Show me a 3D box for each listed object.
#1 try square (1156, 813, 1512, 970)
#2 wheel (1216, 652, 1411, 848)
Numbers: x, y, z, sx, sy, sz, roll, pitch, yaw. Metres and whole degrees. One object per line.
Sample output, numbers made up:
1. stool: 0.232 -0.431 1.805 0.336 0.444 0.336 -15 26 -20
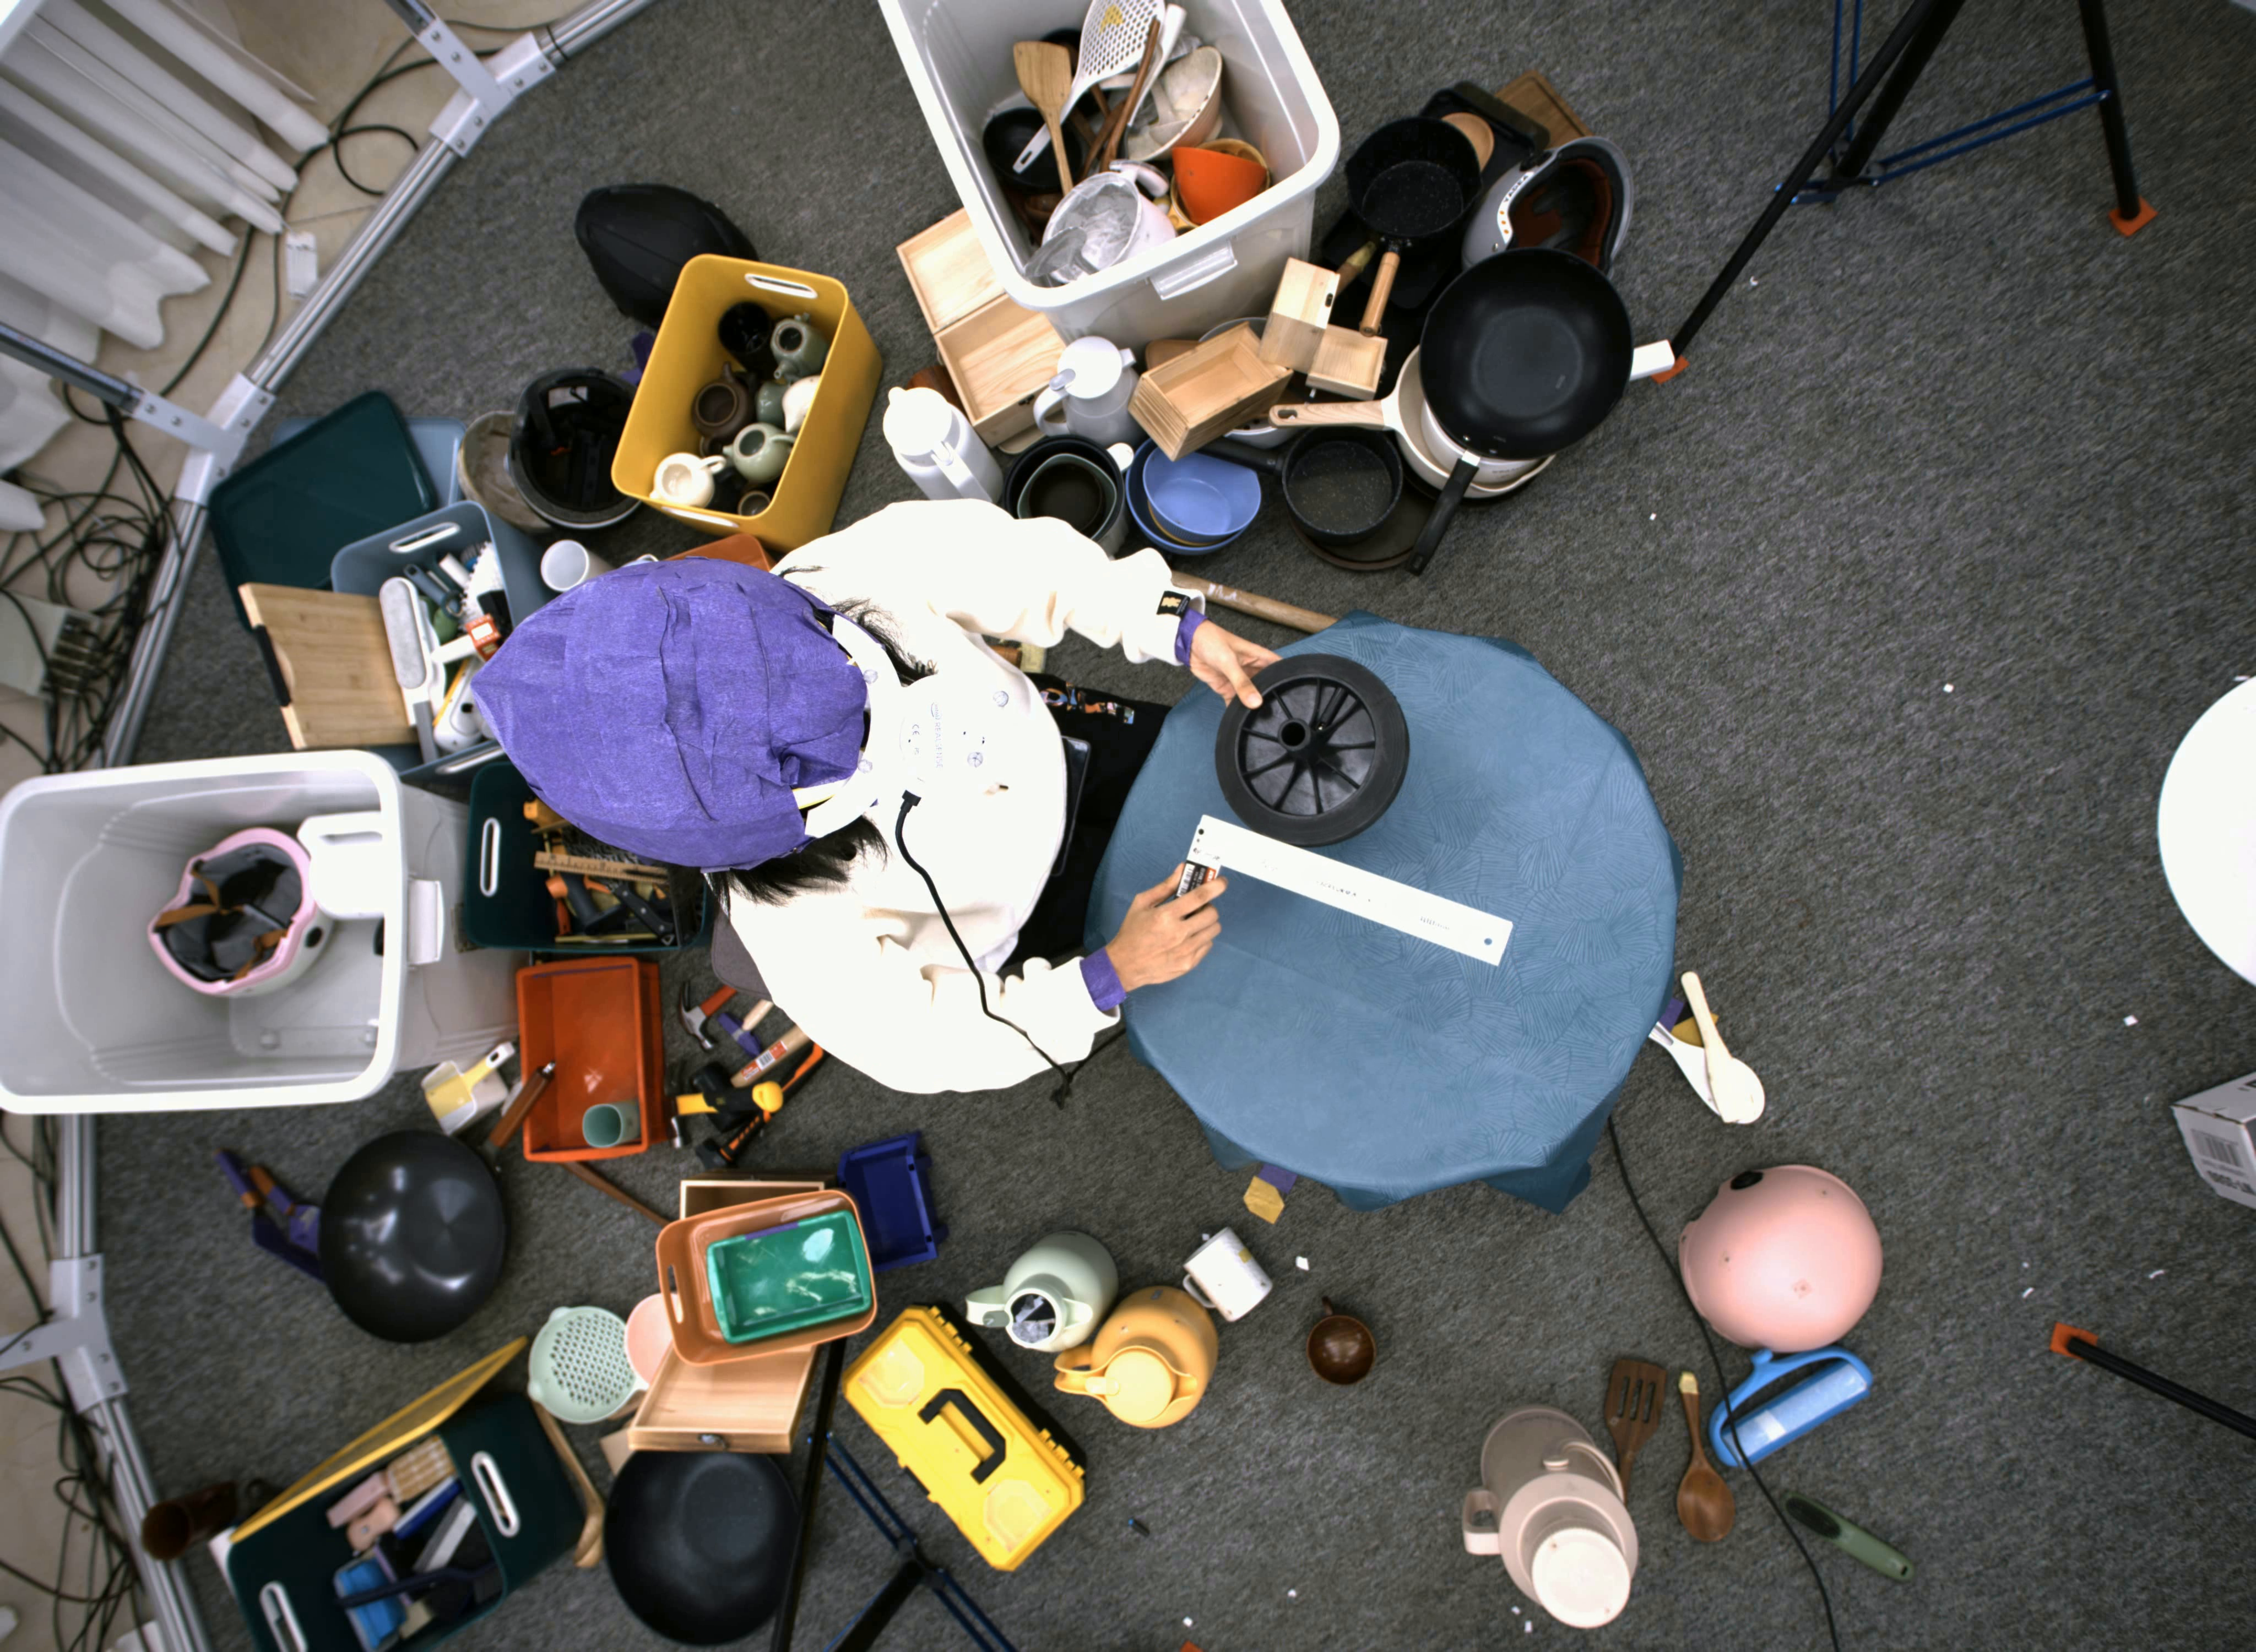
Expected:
1. try square: 0.184 0.107 1.293 0.312 0.016 0.153 21 102 22
2. wheel: 0.167 -0.077 1.296 0.188 0.079 0.188 5 84 23
